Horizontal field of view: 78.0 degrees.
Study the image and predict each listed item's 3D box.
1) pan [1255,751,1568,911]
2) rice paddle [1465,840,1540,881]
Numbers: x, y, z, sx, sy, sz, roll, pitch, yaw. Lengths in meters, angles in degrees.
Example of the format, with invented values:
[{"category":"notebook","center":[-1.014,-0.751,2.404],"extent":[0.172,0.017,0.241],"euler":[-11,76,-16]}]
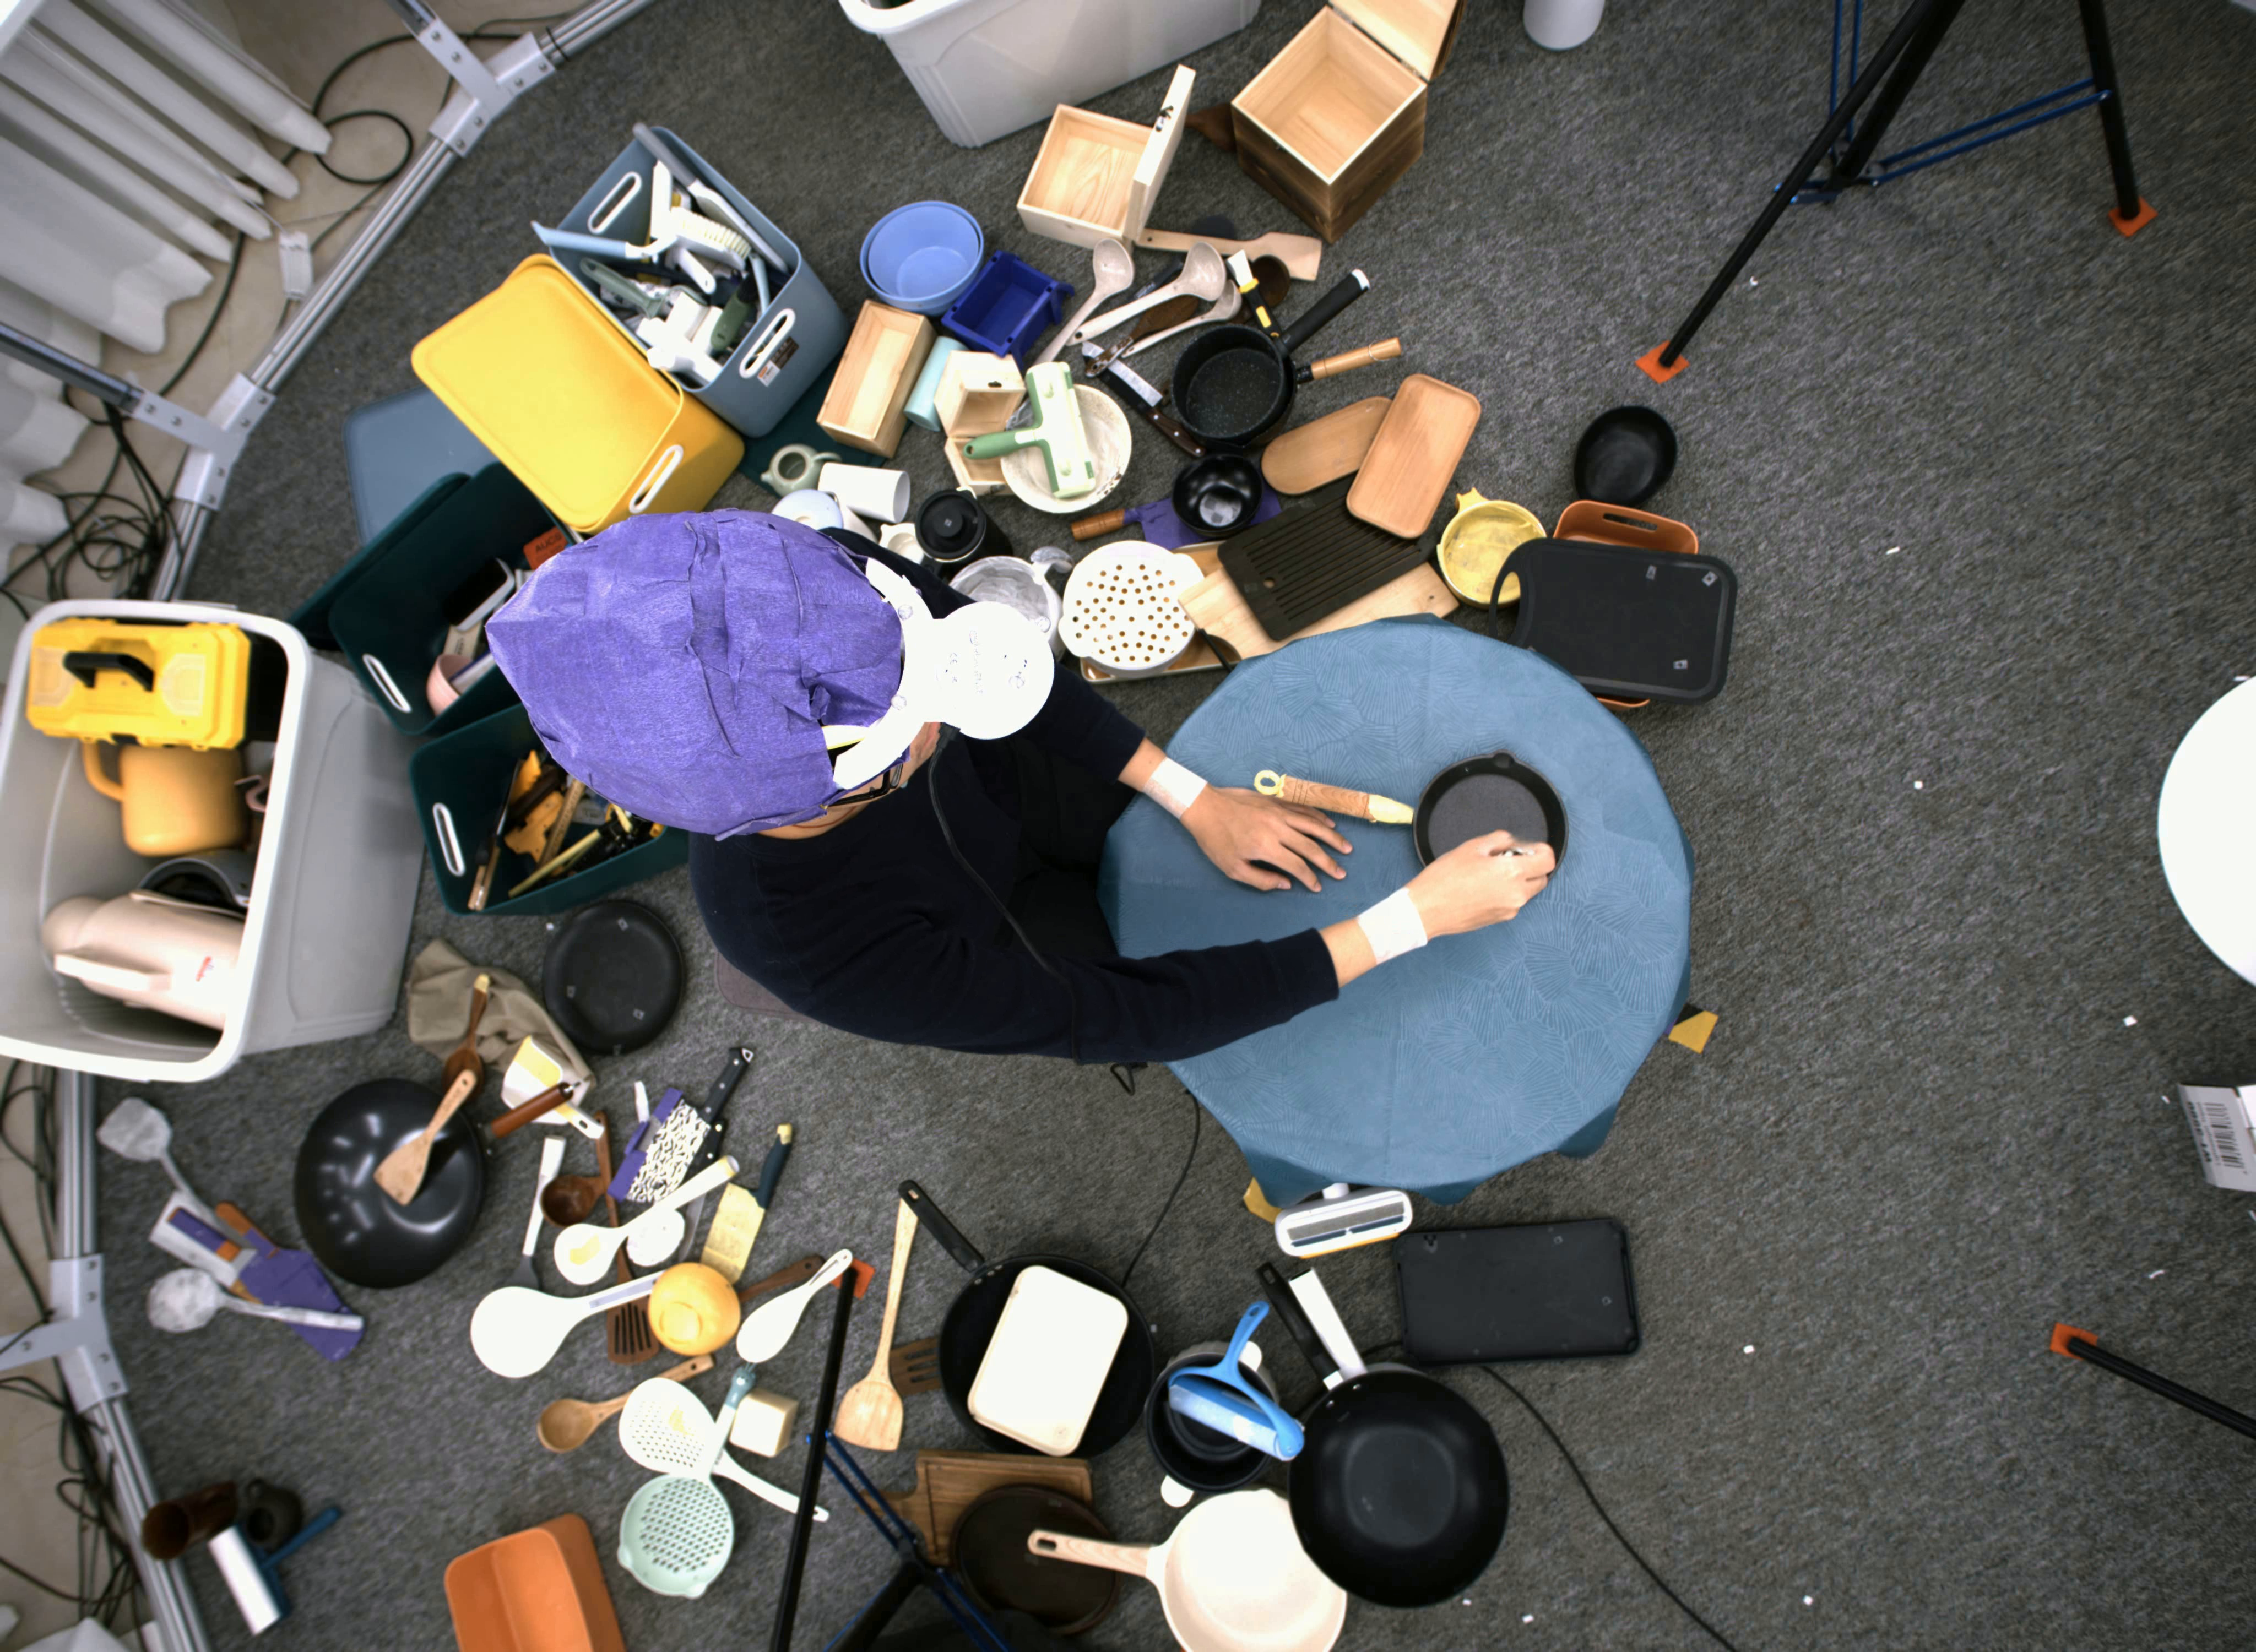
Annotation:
[{"category":"pan","center":[0.293,-0.016,1.435],"extent":[0.324,0.049,0.168],"euler":[13,89,10]},{"category":"rice paddle","center":[0.369,0.022,1.337],"extent":[0.069,0.203,0.029],"euler":[-3,96,8]}]
